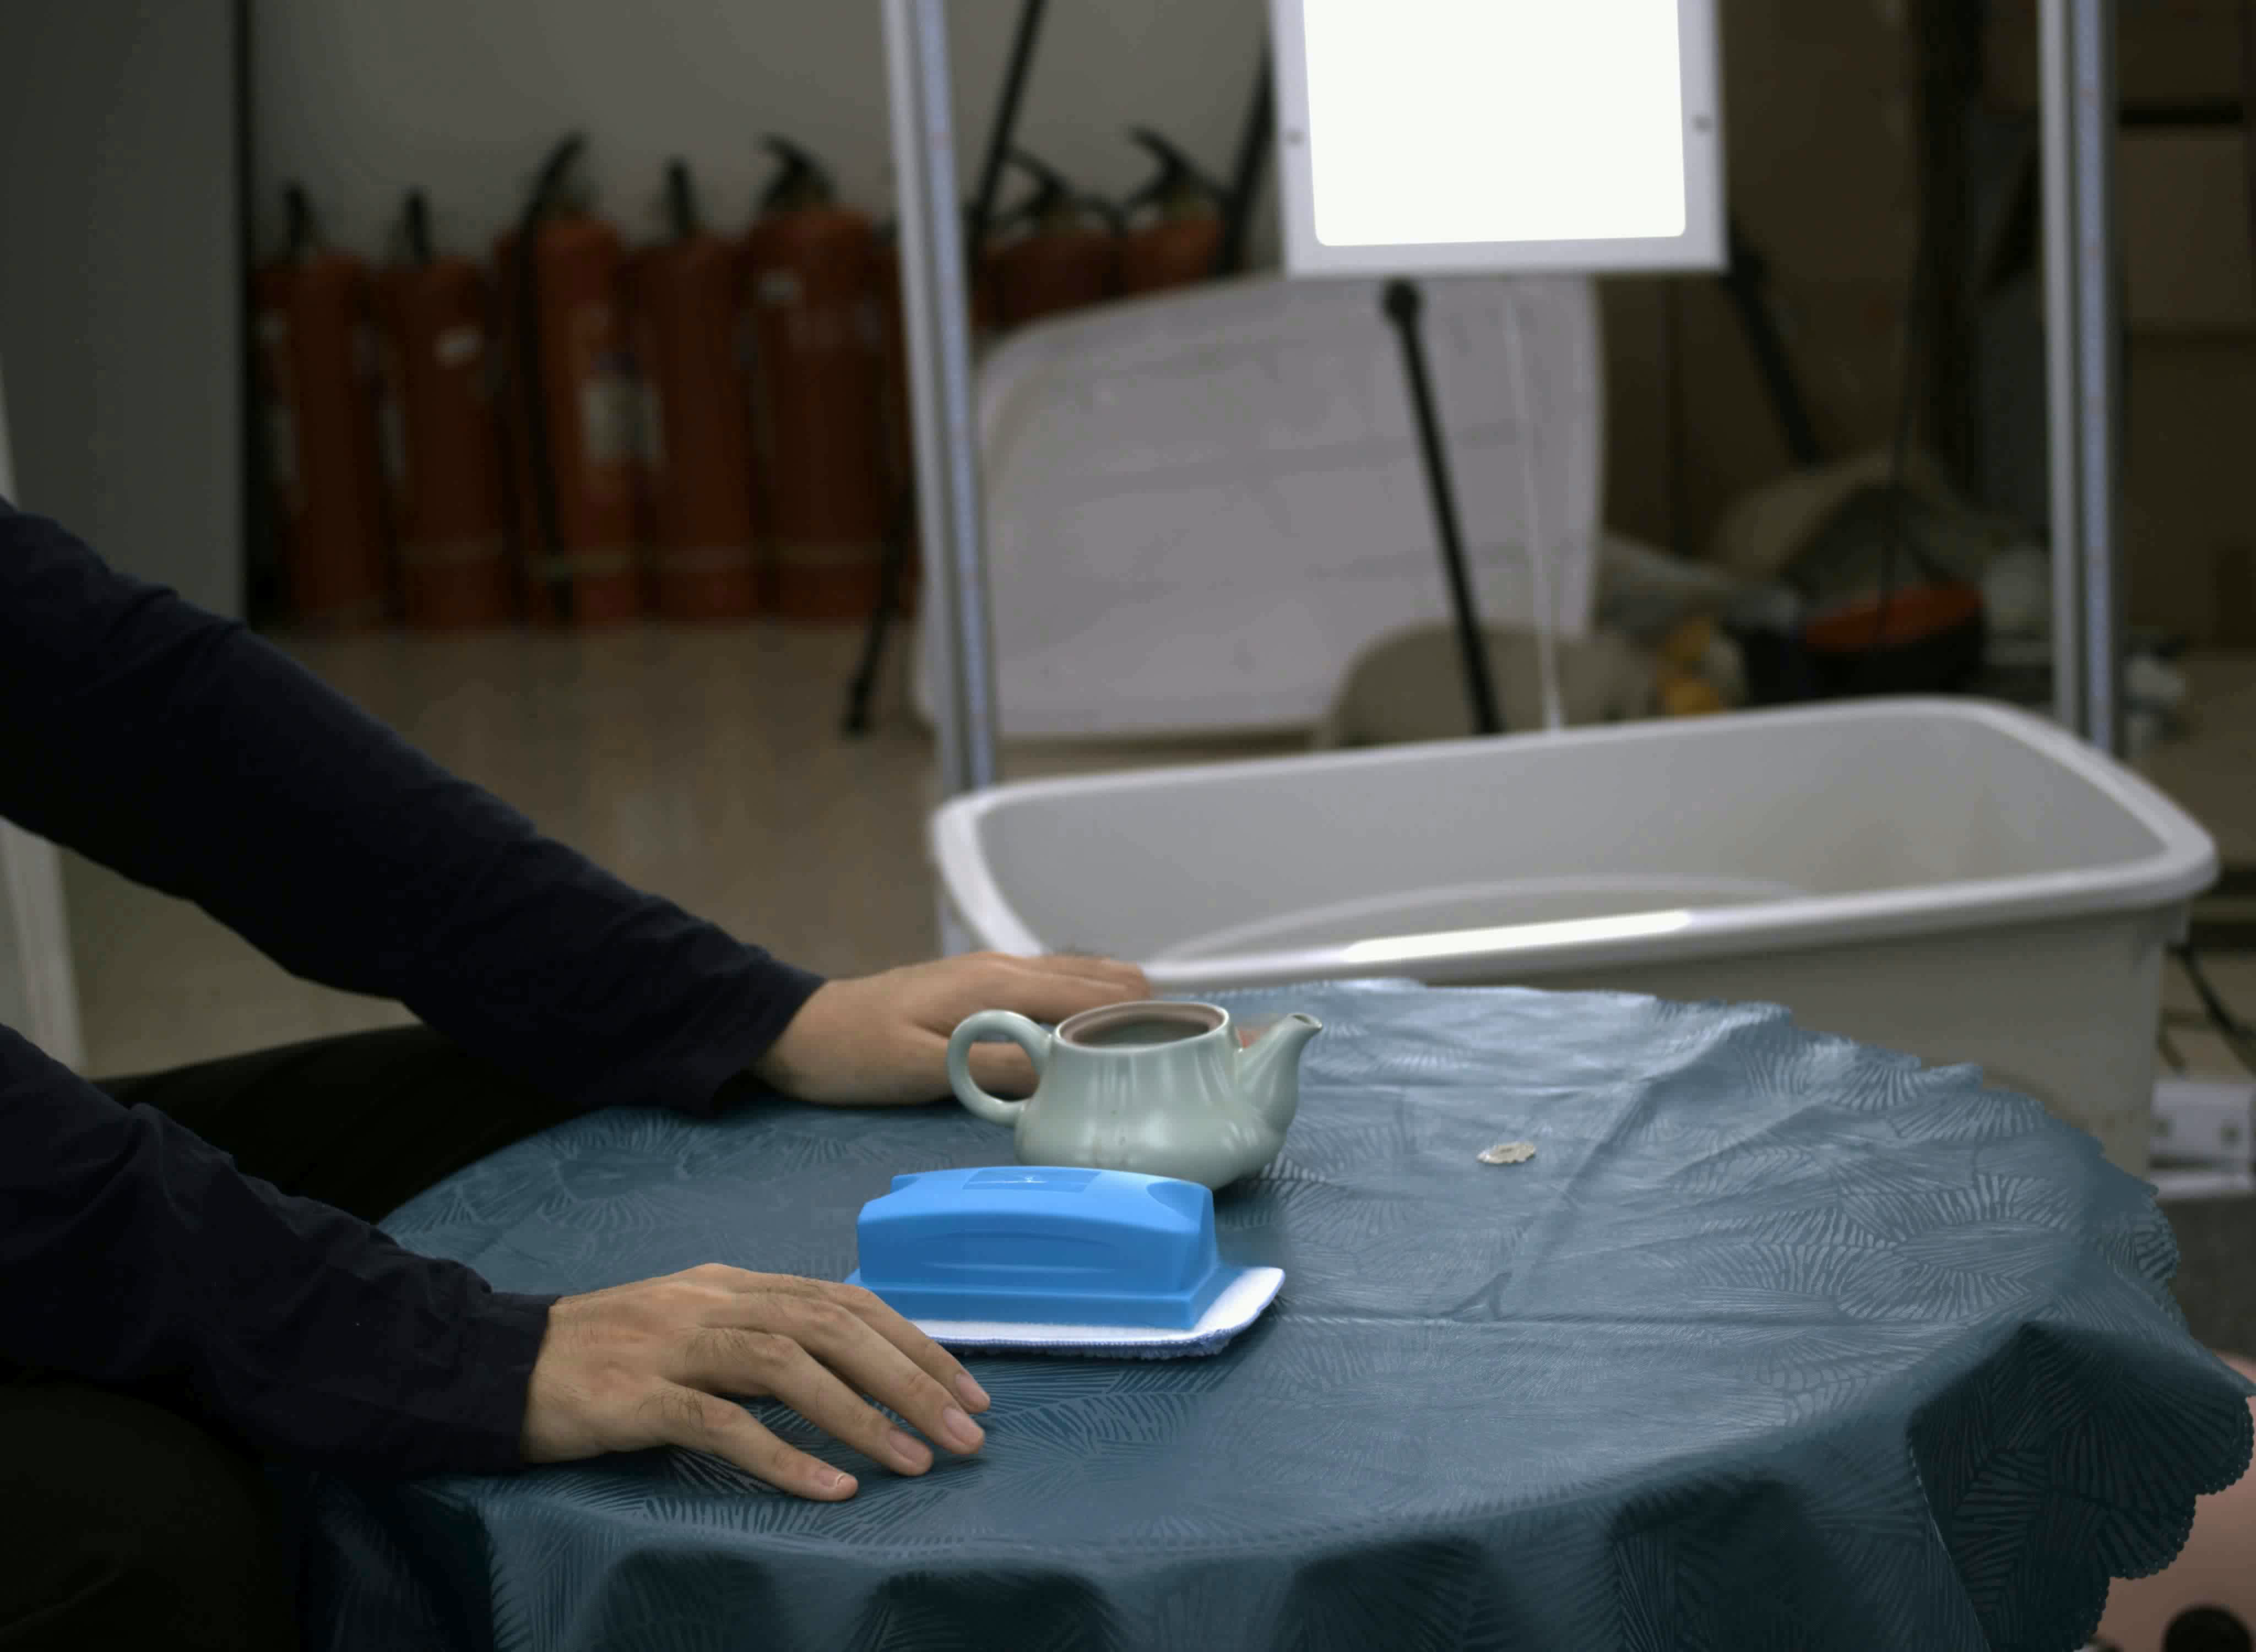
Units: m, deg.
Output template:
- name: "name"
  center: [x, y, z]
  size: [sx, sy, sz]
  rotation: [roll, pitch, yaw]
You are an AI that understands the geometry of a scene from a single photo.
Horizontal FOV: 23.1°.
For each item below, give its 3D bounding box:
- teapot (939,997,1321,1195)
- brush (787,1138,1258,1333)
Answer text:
- name: "teapot"
  center: [0.002, 0.094, 1.905]
  size: [0.138, 0.061, 0.095]
  rotation: [0, 16, 16]
- name: "brush"
  center: [-0.033, 0.131, 1.764]
  size: [0.146, 0.056, 0.082]
  rotation: [3, 13, 22]
